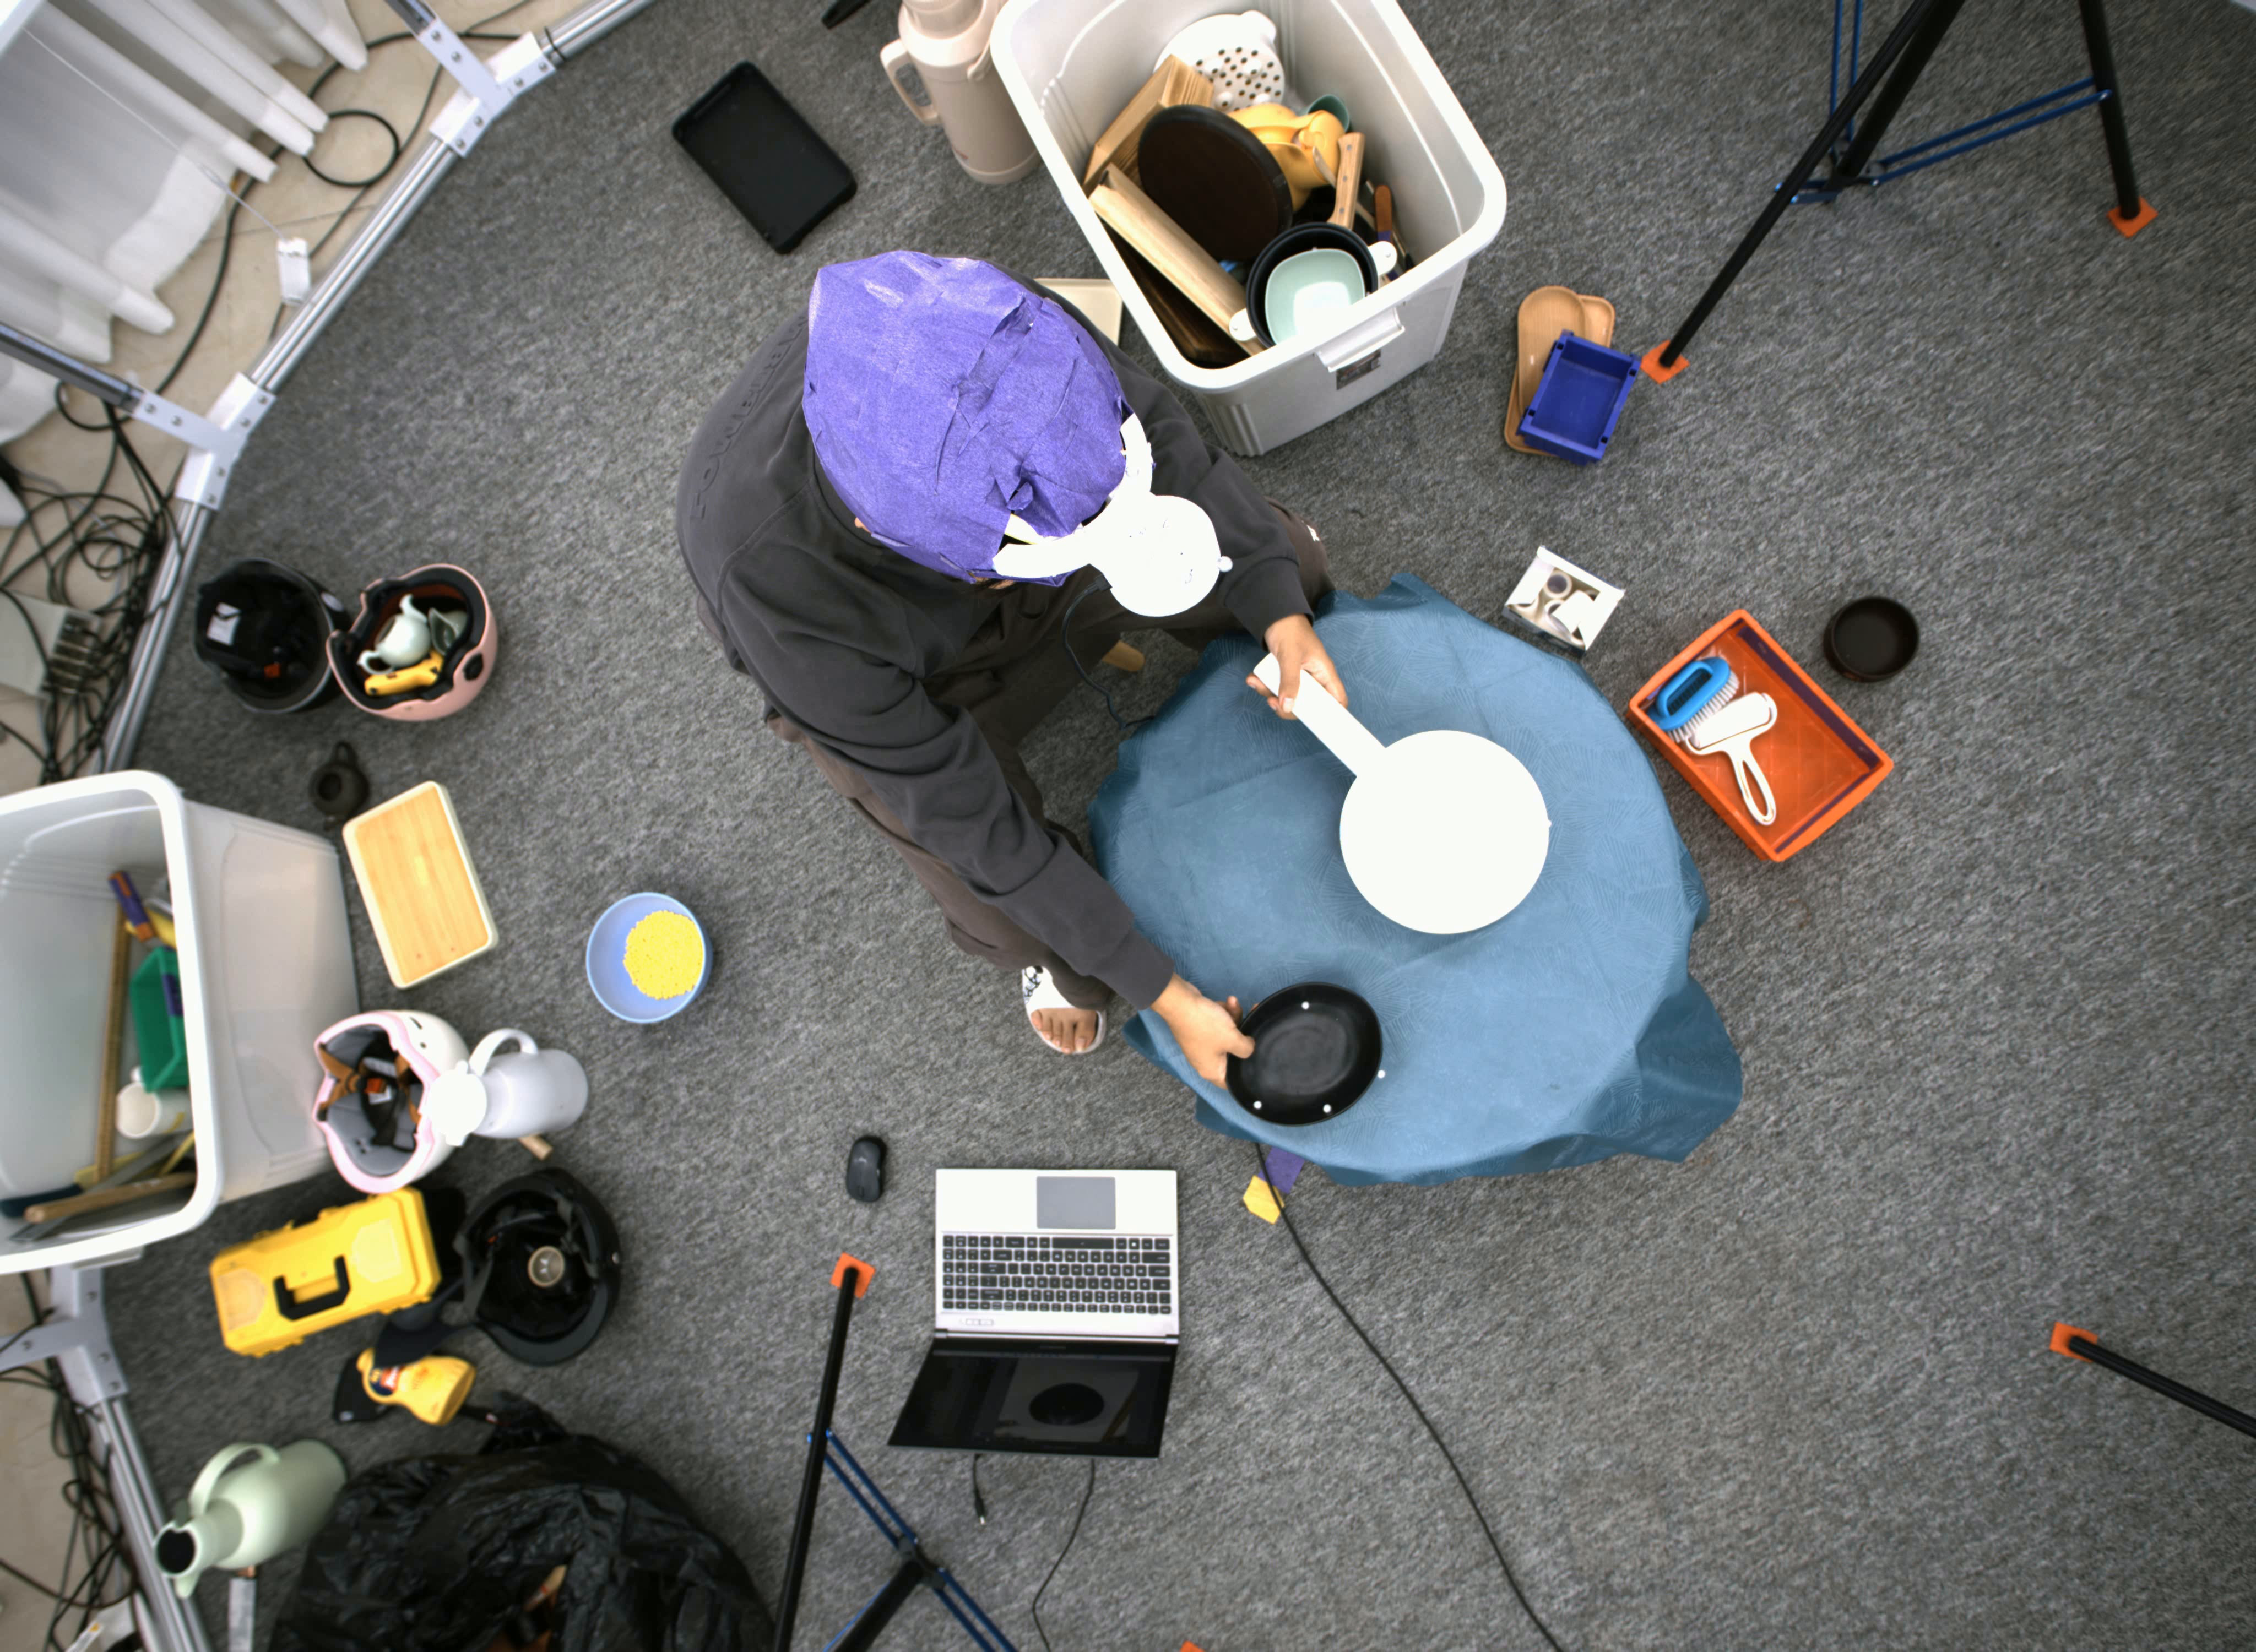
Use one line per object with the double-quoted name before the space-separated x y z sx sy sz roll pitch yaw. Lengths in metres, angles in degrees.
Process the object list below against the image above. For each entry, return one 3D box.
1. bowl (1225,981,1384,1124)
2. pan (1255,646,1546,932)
"bowl" 0.184 0.234 1.434 0.171 0.067 0.136 -33 80 8
"pan" 0.269 -0.045 1.424 0.202 0.102 0.352 -45 76 7
